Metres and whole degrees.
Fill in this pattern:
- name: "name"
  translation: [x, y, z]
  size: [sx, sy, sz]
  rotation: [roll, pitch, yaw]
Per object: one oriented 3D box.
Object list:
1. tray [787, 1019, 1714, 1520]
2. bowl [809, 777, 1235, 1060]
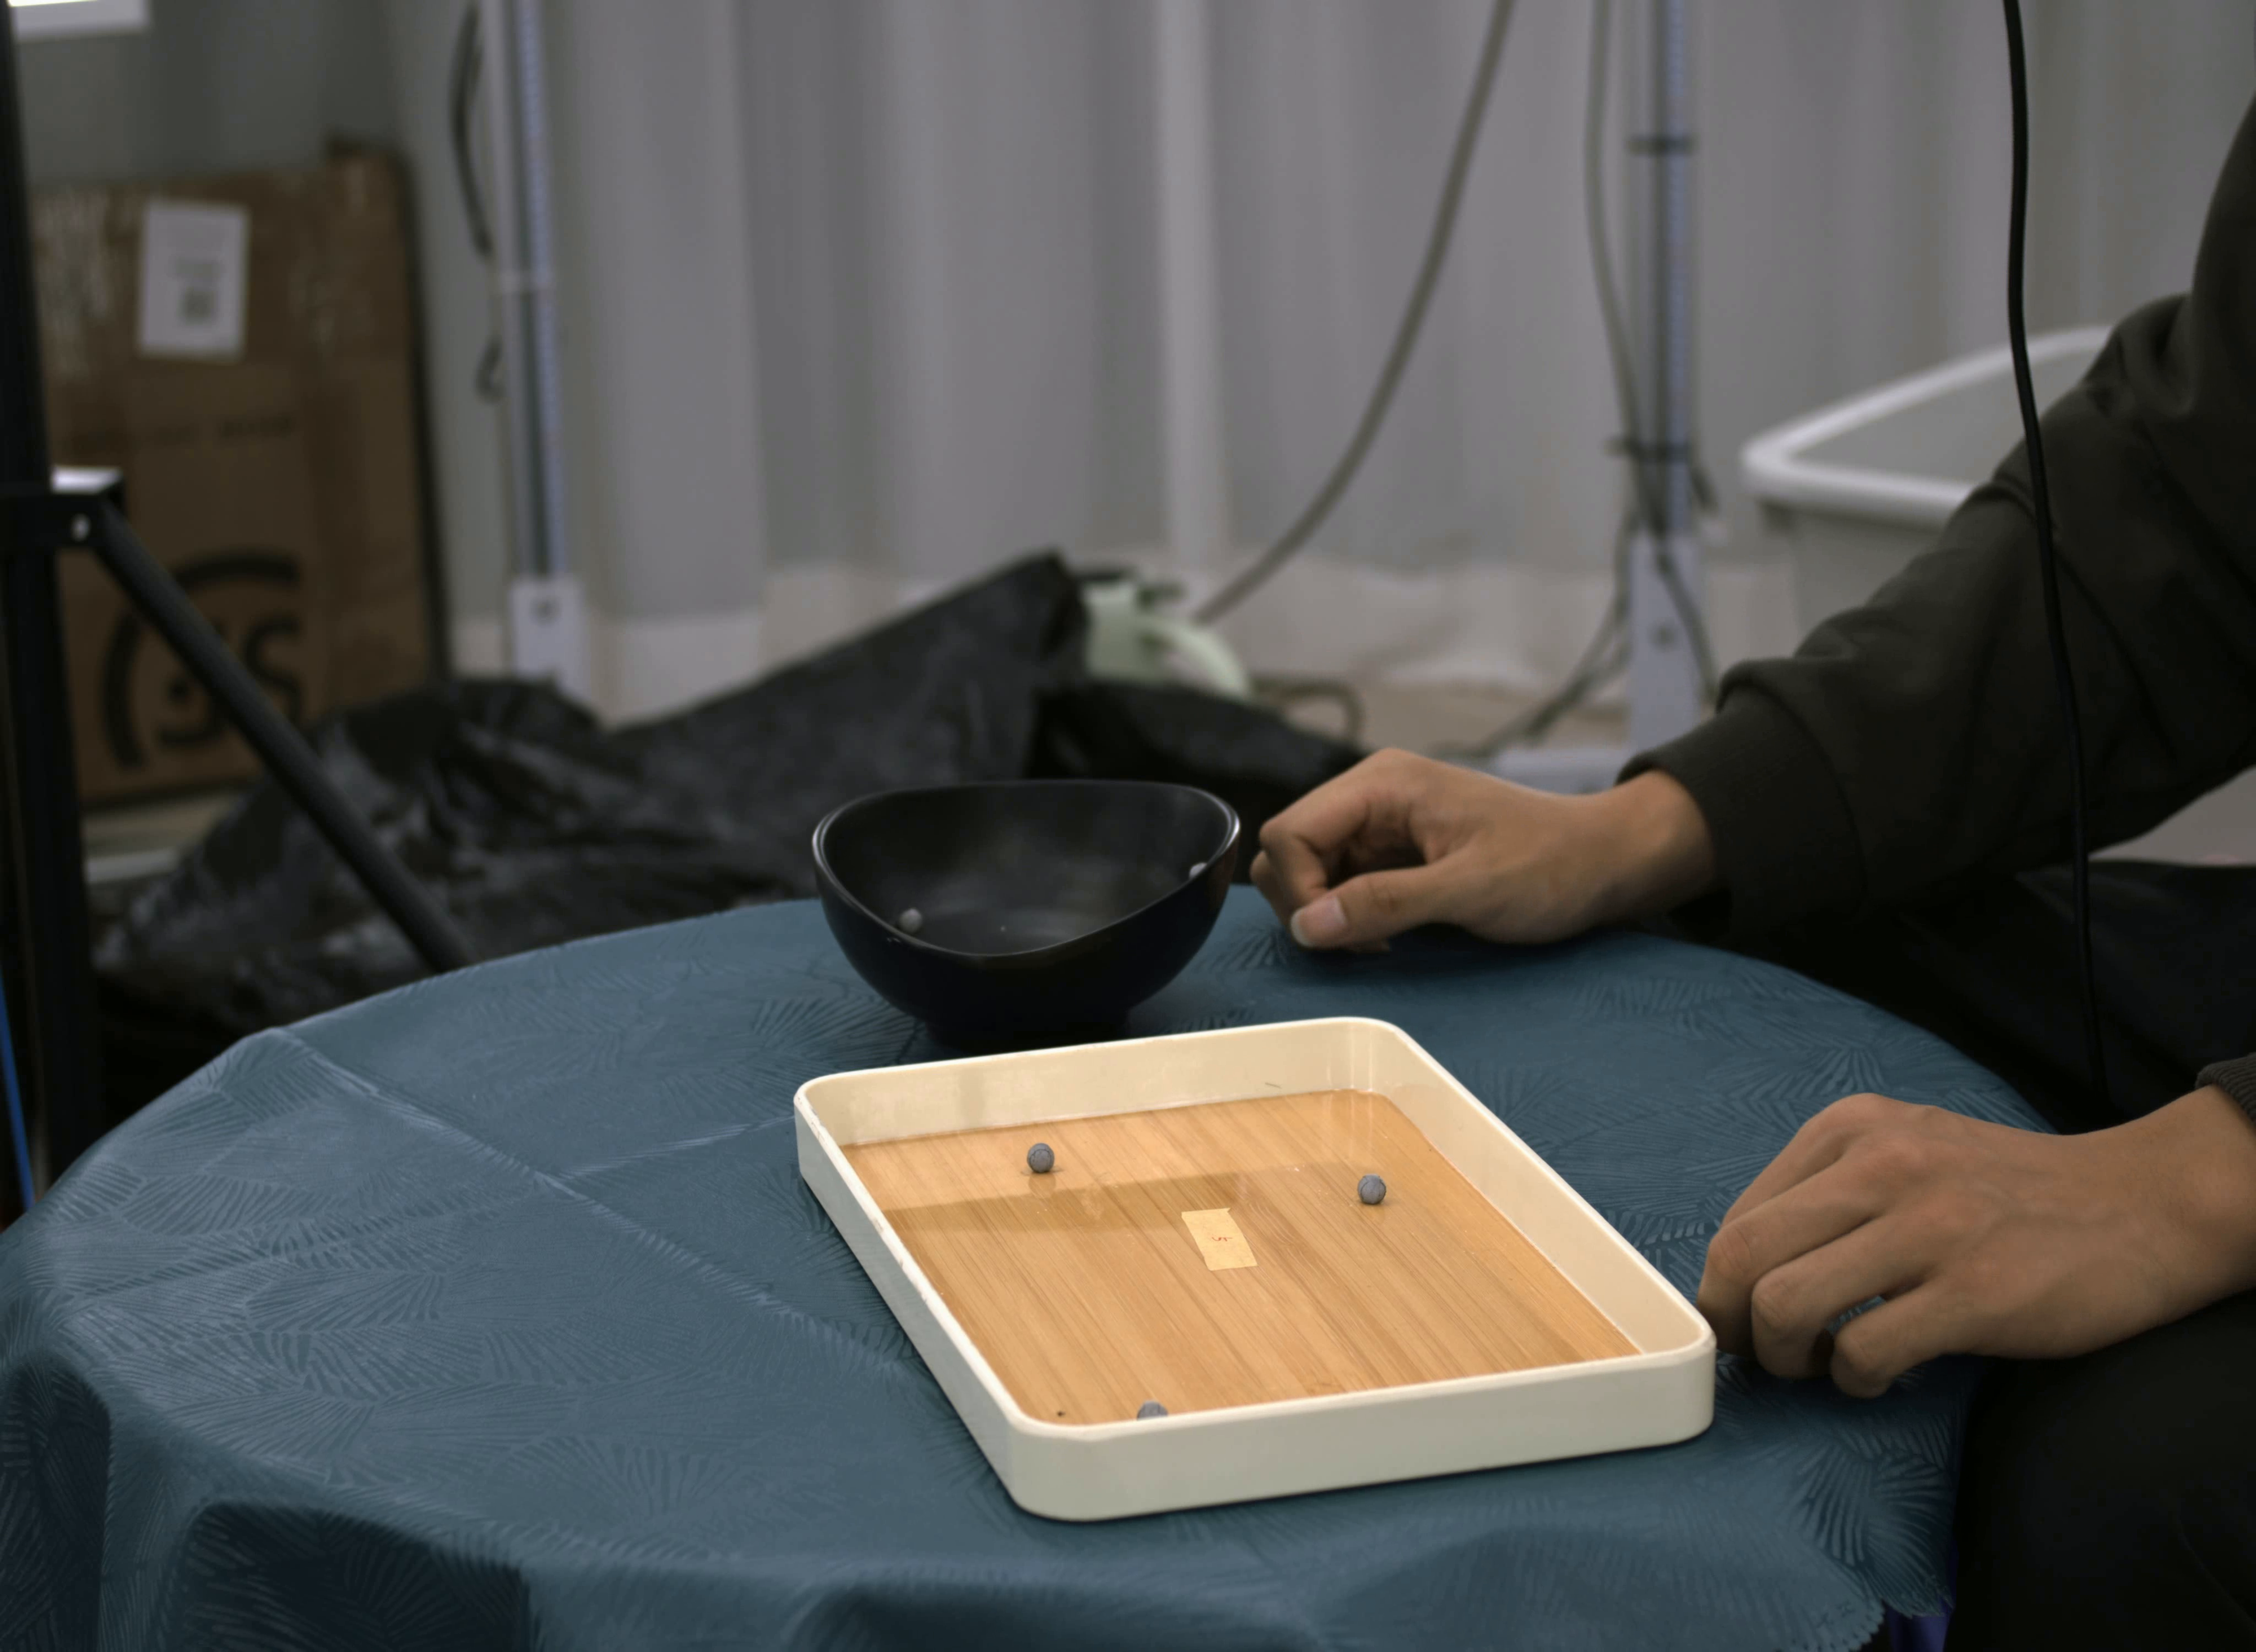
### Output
- name: "tray"
  translation: [0.026, 0.117, 1.476]
  size: [0.189, 0.027, 0.304]
  rotation: [-6, 16, -13]
- name: "bowl"
  translation: [-0.033, 0.034, 1.714]
  size: [0.137, 0.066, 0.170]
  rotation: [-2, 18, 6]
